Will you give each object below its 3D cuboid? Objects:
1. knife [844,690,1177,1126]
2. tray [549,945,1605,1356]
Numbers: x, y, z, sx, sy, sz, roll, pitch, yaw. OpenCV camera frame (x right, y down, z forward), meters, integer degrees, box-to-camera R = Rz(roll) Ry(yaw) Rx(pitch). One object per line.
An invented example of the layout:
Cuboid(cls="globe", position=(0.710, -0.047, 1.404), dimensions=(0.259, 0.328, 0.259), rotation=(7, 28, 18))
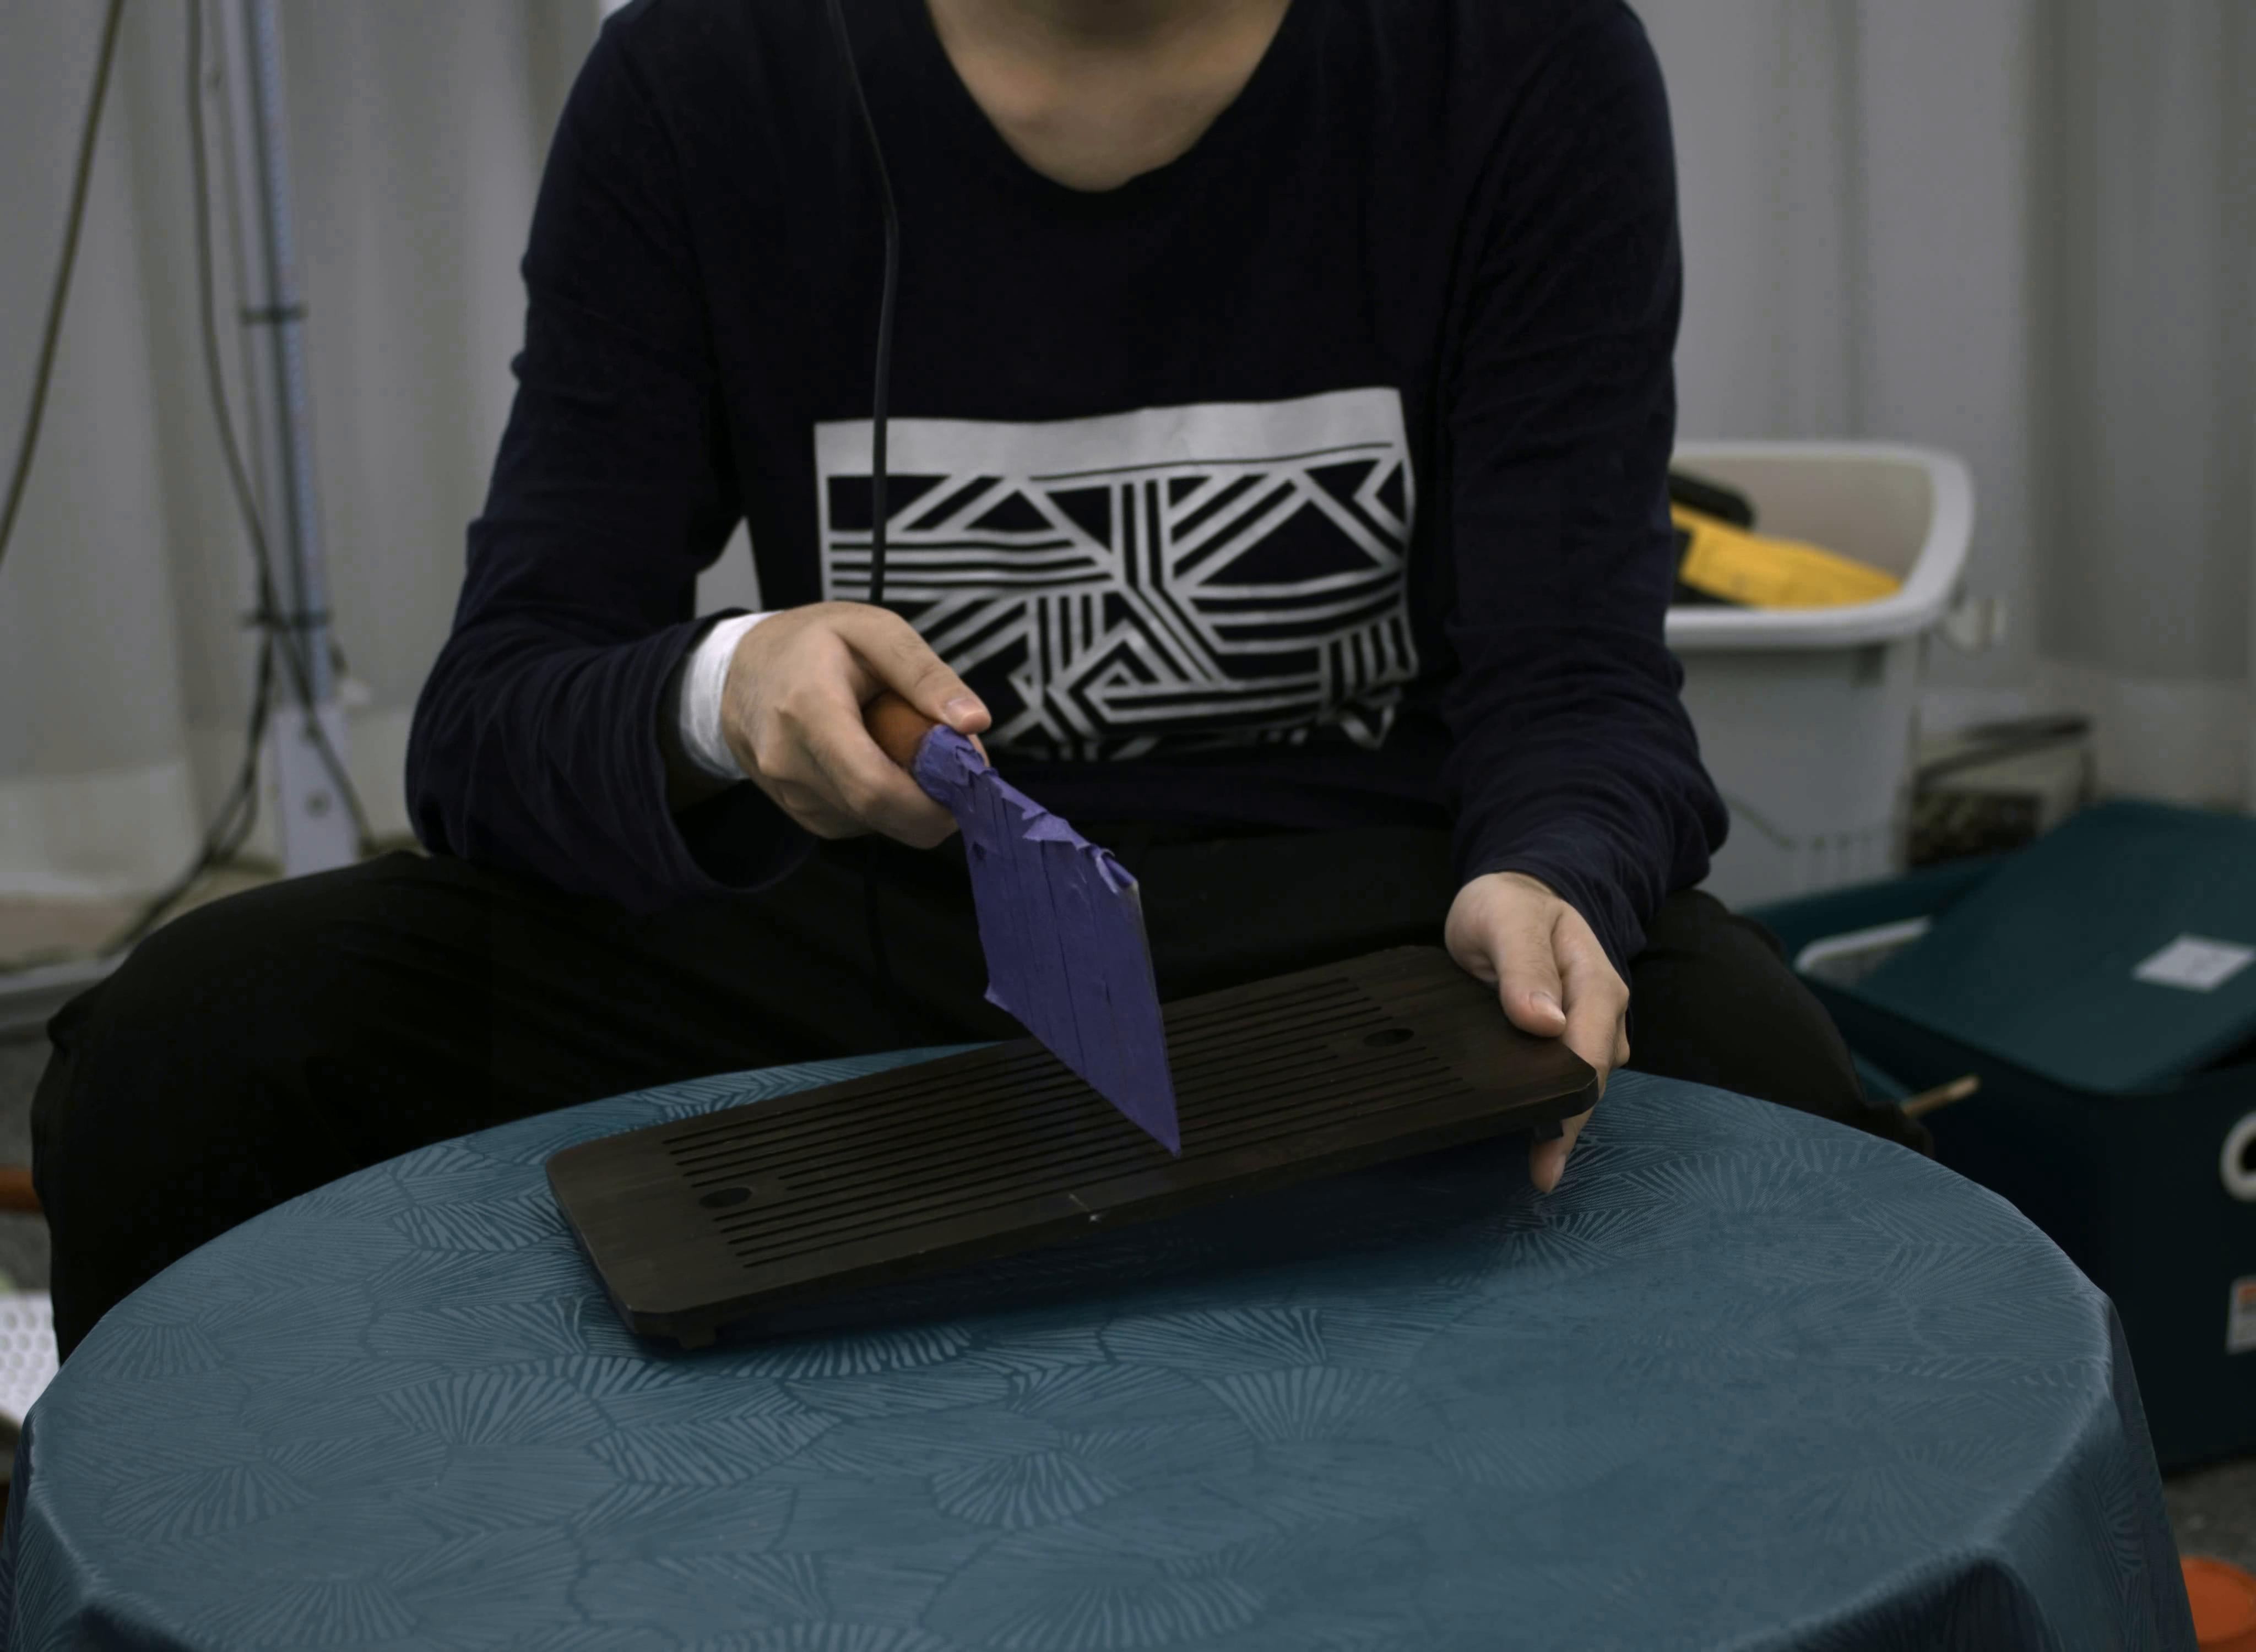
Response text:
Cuboid(cls="knife", position=(-0.040, 0.025, 1.751), dimensions=(0.032, 0.103, 0.317), rotation=(-11, 14, -13))
Cuboid(cls="tray", position=(-0.018, 0.098, 1.688), dimensions=(0.305, 0.018, 0.171), rotation=(-13, 17, -13))
